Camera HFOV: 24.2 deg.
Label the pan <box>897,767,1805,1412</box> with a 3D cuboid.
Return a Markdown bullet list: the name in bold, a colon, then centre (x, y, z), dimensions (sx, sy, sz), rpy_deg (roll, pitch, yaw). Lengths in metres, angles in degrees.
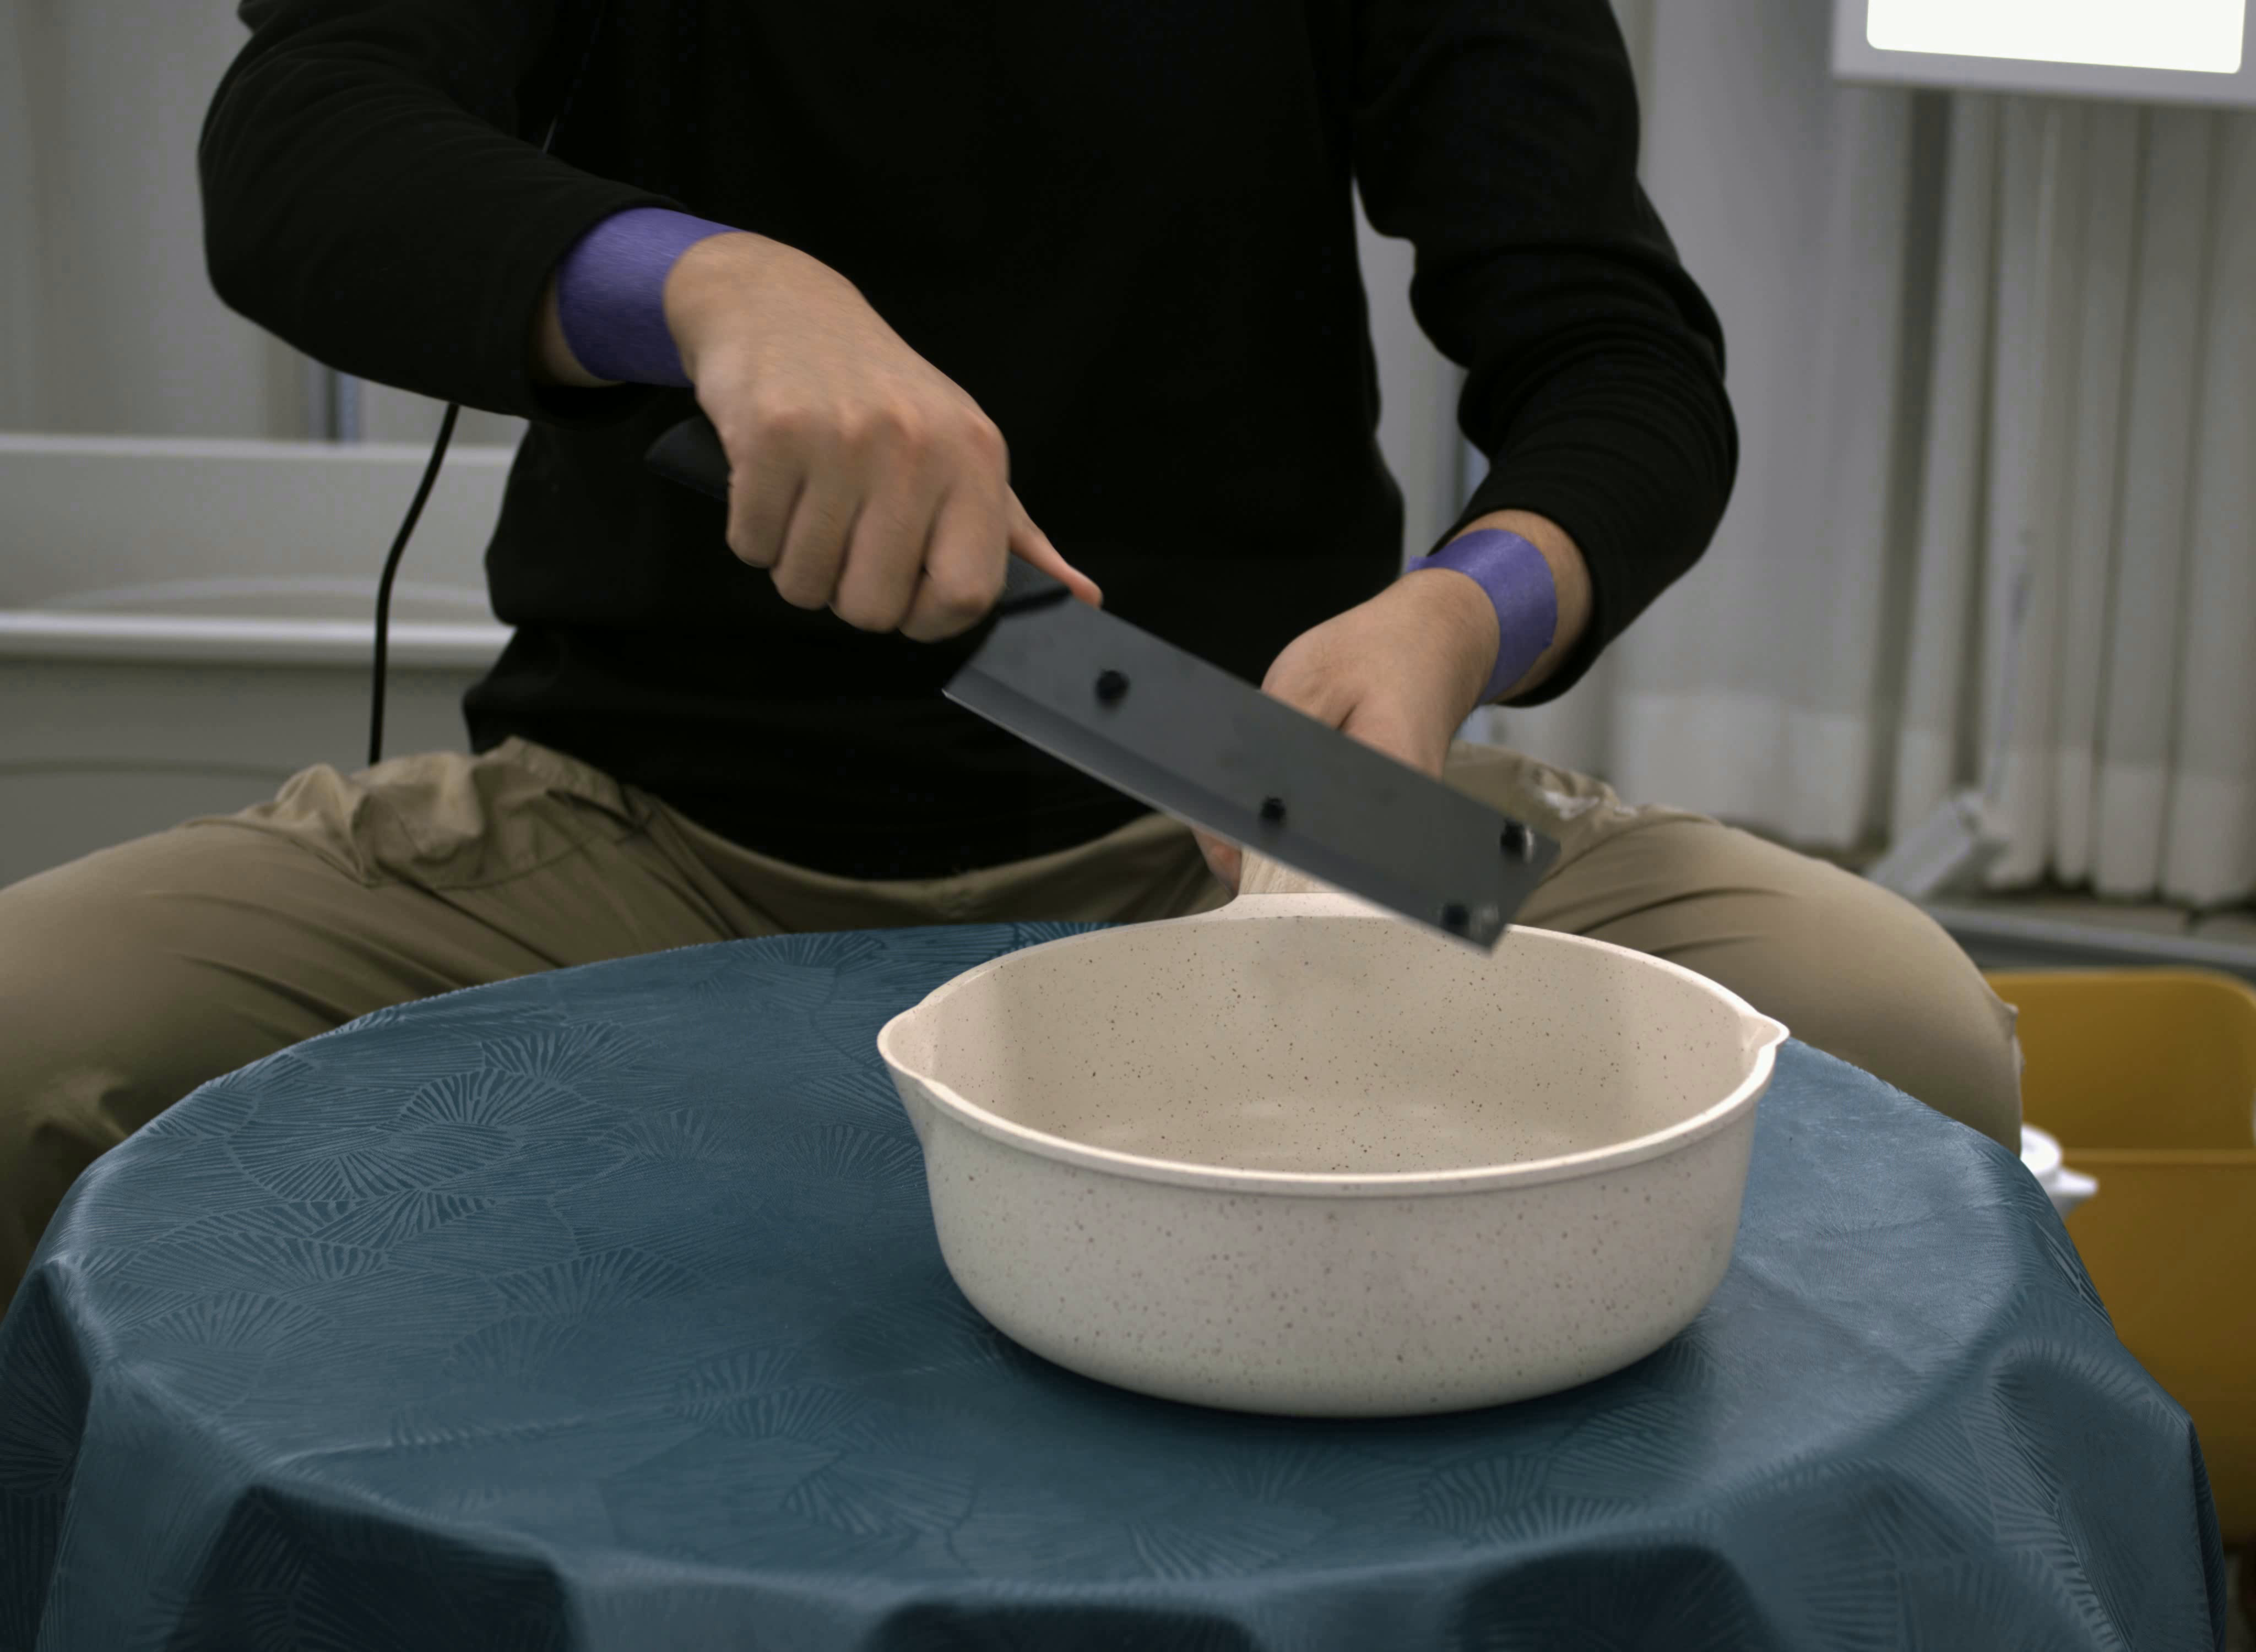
- **pan**: centre (0.060, 0.066, 1.607), dimensions (0.263, 0.103, 0.432), rpy_deg (-2, 16, -3)

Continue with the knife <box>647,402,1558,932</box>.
- **knife**: centre (-0.013, -0.050, 1.571), dimensions (0.300, 0.021, 0.081), rpy_deg (29, 43, 13)
